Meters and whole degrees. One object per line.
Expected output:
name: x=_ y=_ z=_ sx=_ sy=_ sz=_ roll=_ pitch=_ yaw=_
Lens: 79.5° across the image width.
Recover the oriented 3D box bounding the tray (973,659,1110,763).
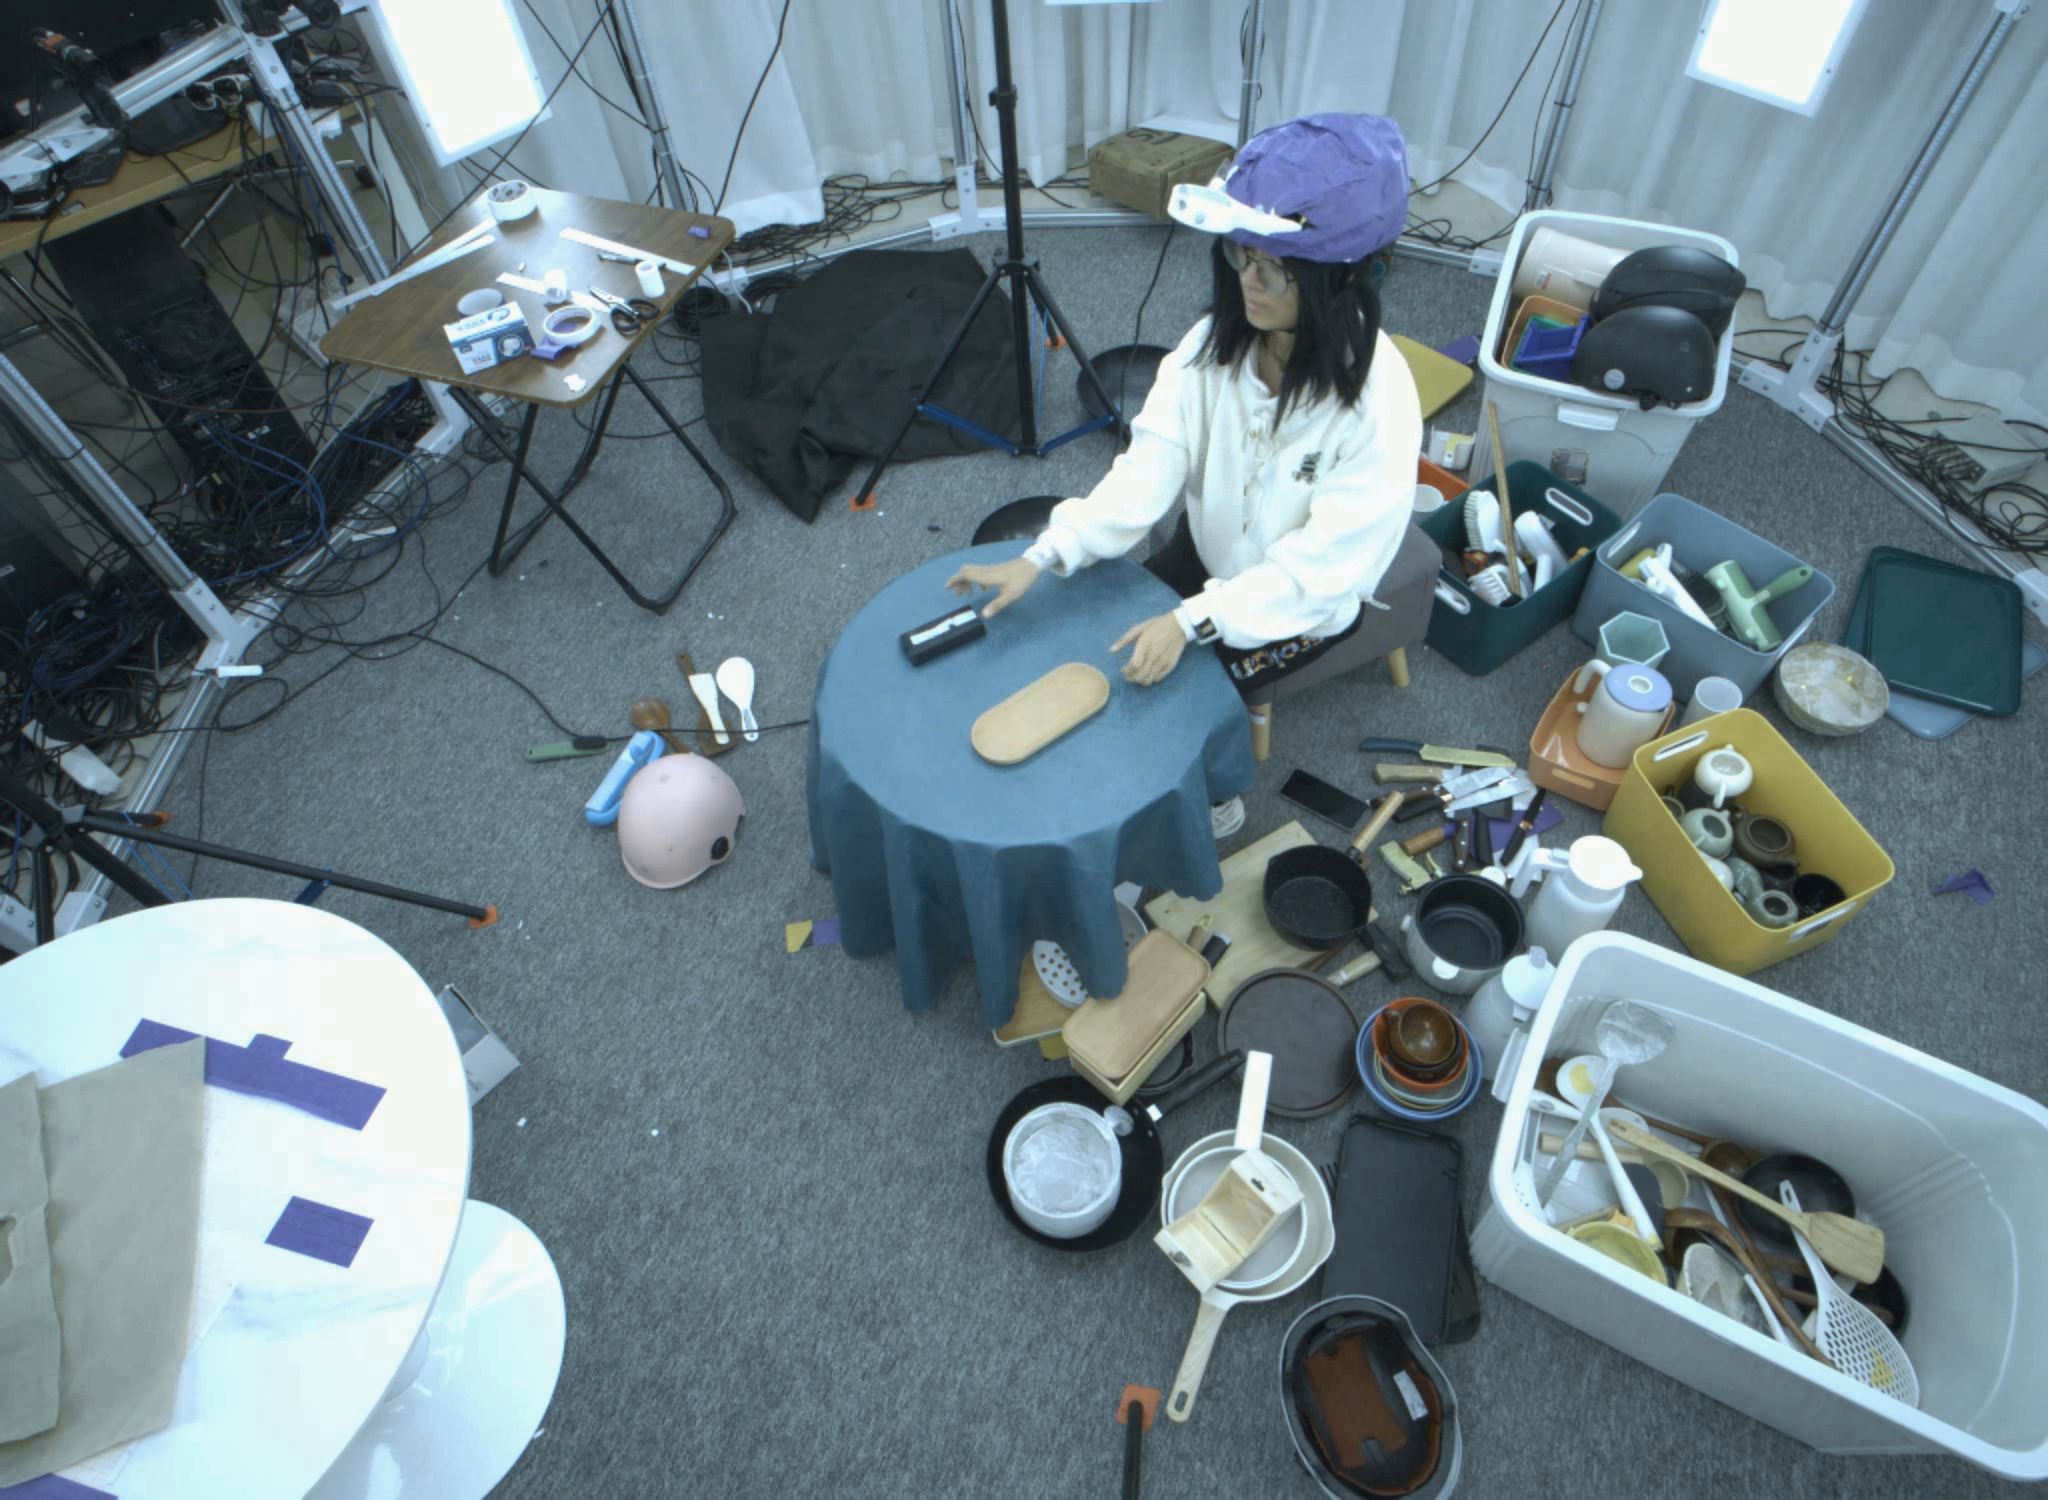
tray: x=0.027 y=-0.058 z=1.818 sx=0.233 sy=0.020 sz=0.100 roll=-34 pitch=61 yaw=-22

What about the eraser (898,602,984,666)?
eraser: x=-0.129 y=-0.180 z=1.901 sx=0.126 sy=0.031 sz=0.052 roll=-28 pitch=65 yaw=-15
